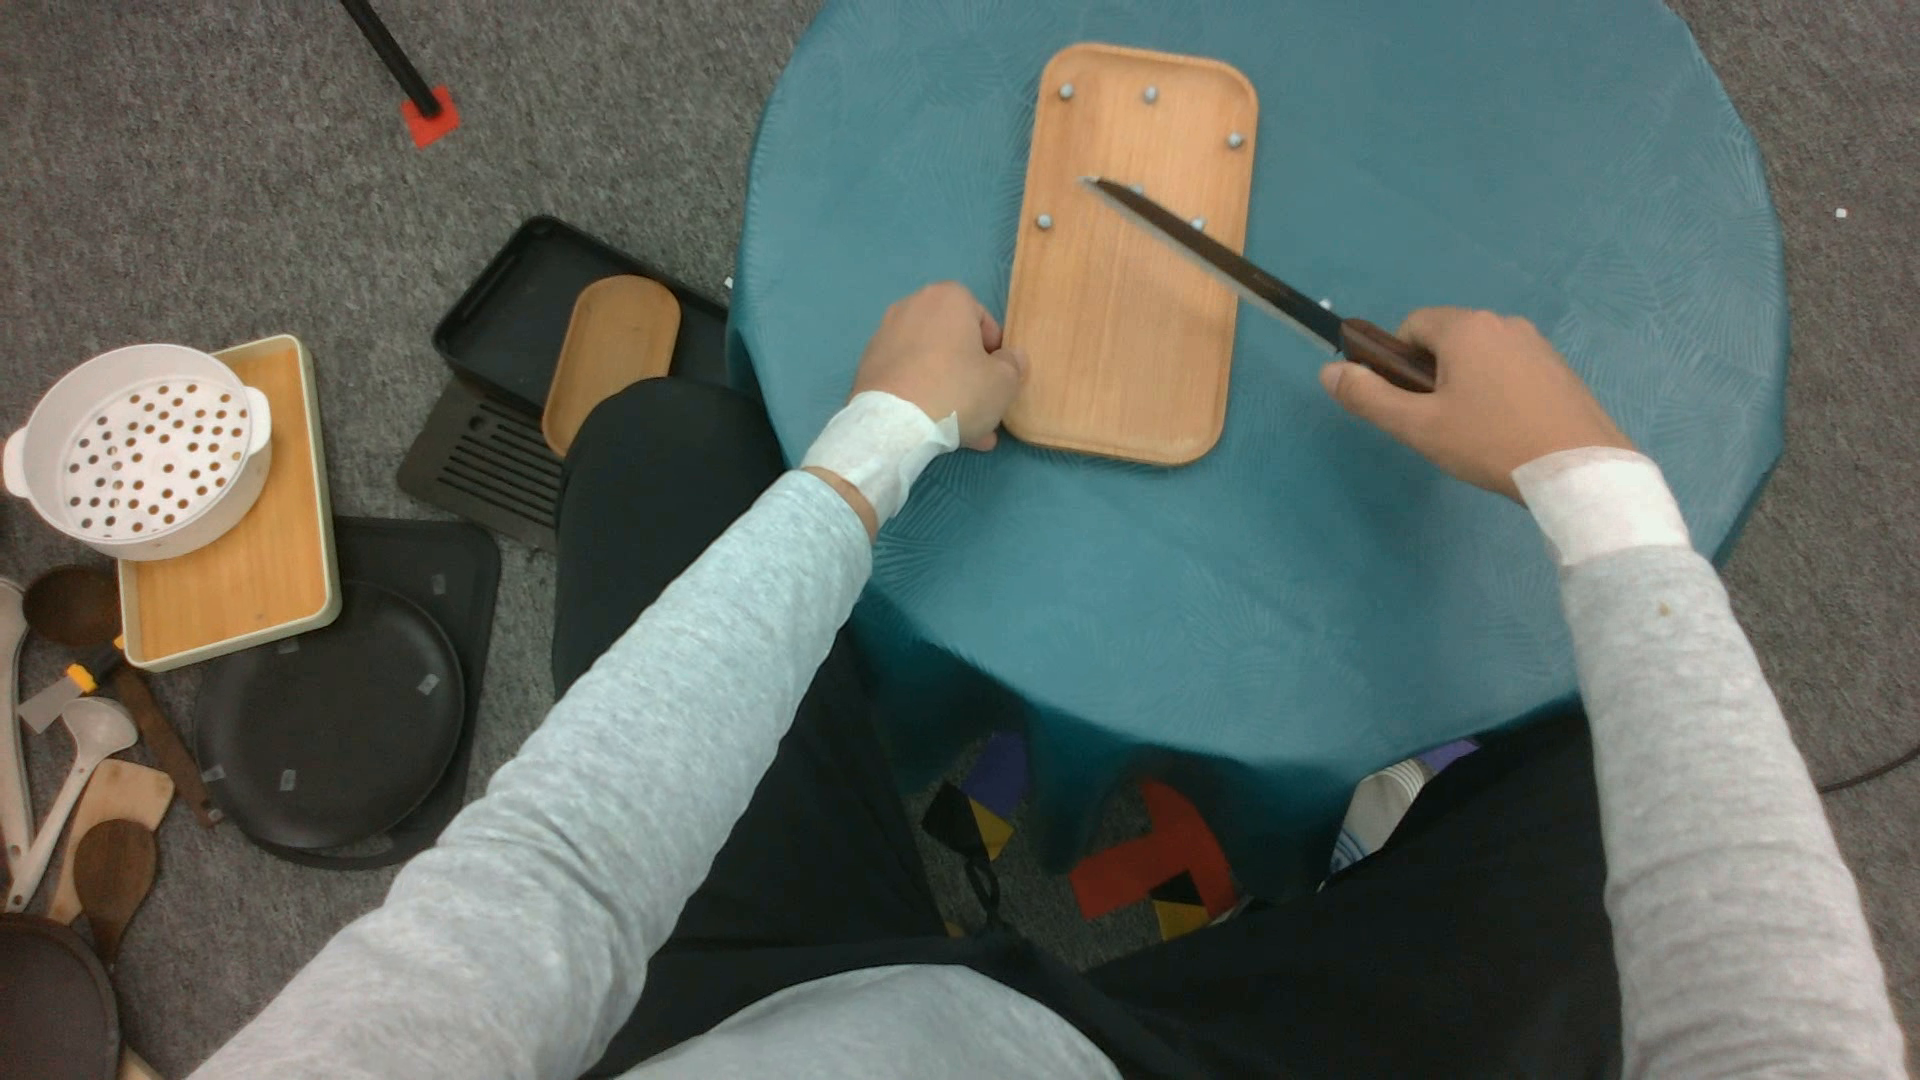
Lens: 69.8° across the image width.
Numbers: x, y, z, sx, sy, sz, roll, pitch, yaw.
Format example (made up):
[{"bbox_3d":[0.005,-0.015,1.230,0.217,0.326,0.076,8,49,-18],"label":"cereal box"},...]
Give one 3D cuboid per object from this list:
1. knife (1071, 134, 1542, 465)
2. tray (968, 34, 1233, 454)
[{"bbox_3d":[0.169,-0.128,0.703,0.289,0.050,0.020,39,83,13],"label":"knife"},{"bbox_3d":[0.082,-0.171,0.781,0.130,0.023,0.251,9,75,2],"label":"tray"}]
